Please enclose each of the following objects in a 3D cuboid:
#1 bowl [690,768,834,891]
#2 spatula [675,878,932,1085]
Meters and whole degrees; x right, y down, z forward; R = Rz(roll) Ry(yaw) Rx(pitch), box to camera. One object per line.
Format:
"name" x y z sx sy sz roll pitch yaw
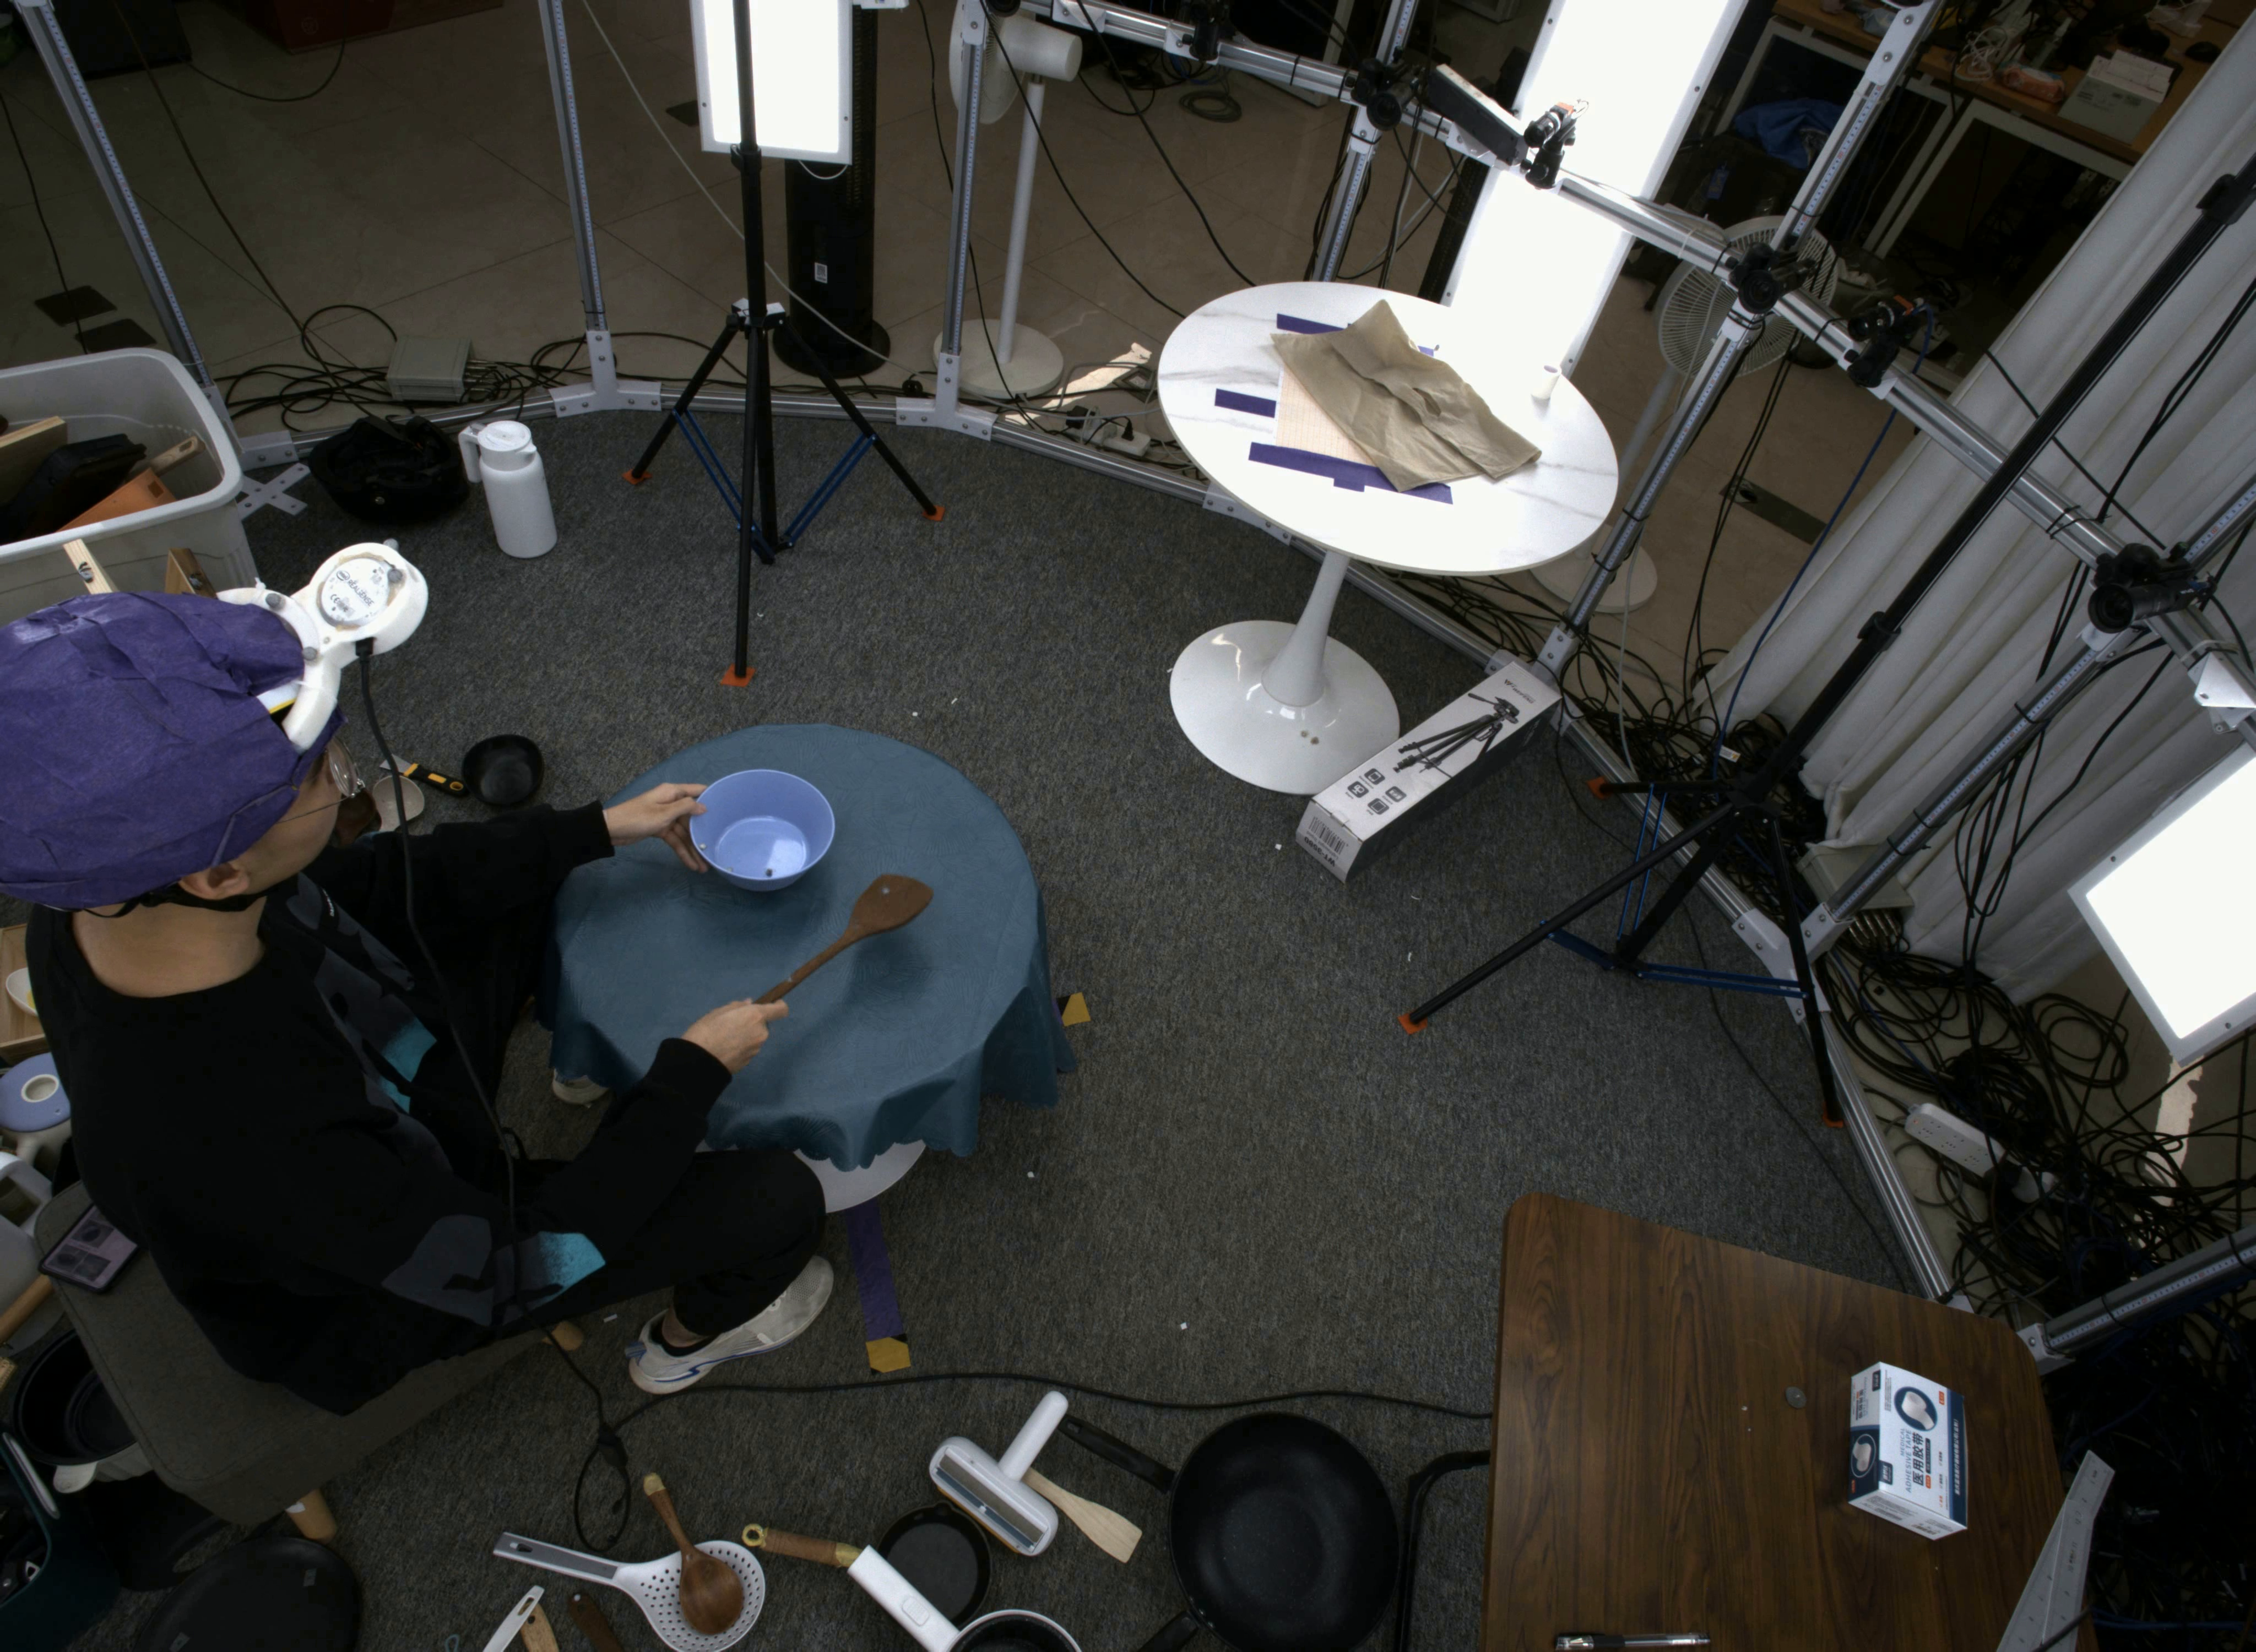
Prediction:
"bowl" -0.461 0.014 1.635 0.176 0.071 0.173 9 51 -9
"spatula" -0.378 0.171 1.508 0.092 0.016 0.386 18 41 31
